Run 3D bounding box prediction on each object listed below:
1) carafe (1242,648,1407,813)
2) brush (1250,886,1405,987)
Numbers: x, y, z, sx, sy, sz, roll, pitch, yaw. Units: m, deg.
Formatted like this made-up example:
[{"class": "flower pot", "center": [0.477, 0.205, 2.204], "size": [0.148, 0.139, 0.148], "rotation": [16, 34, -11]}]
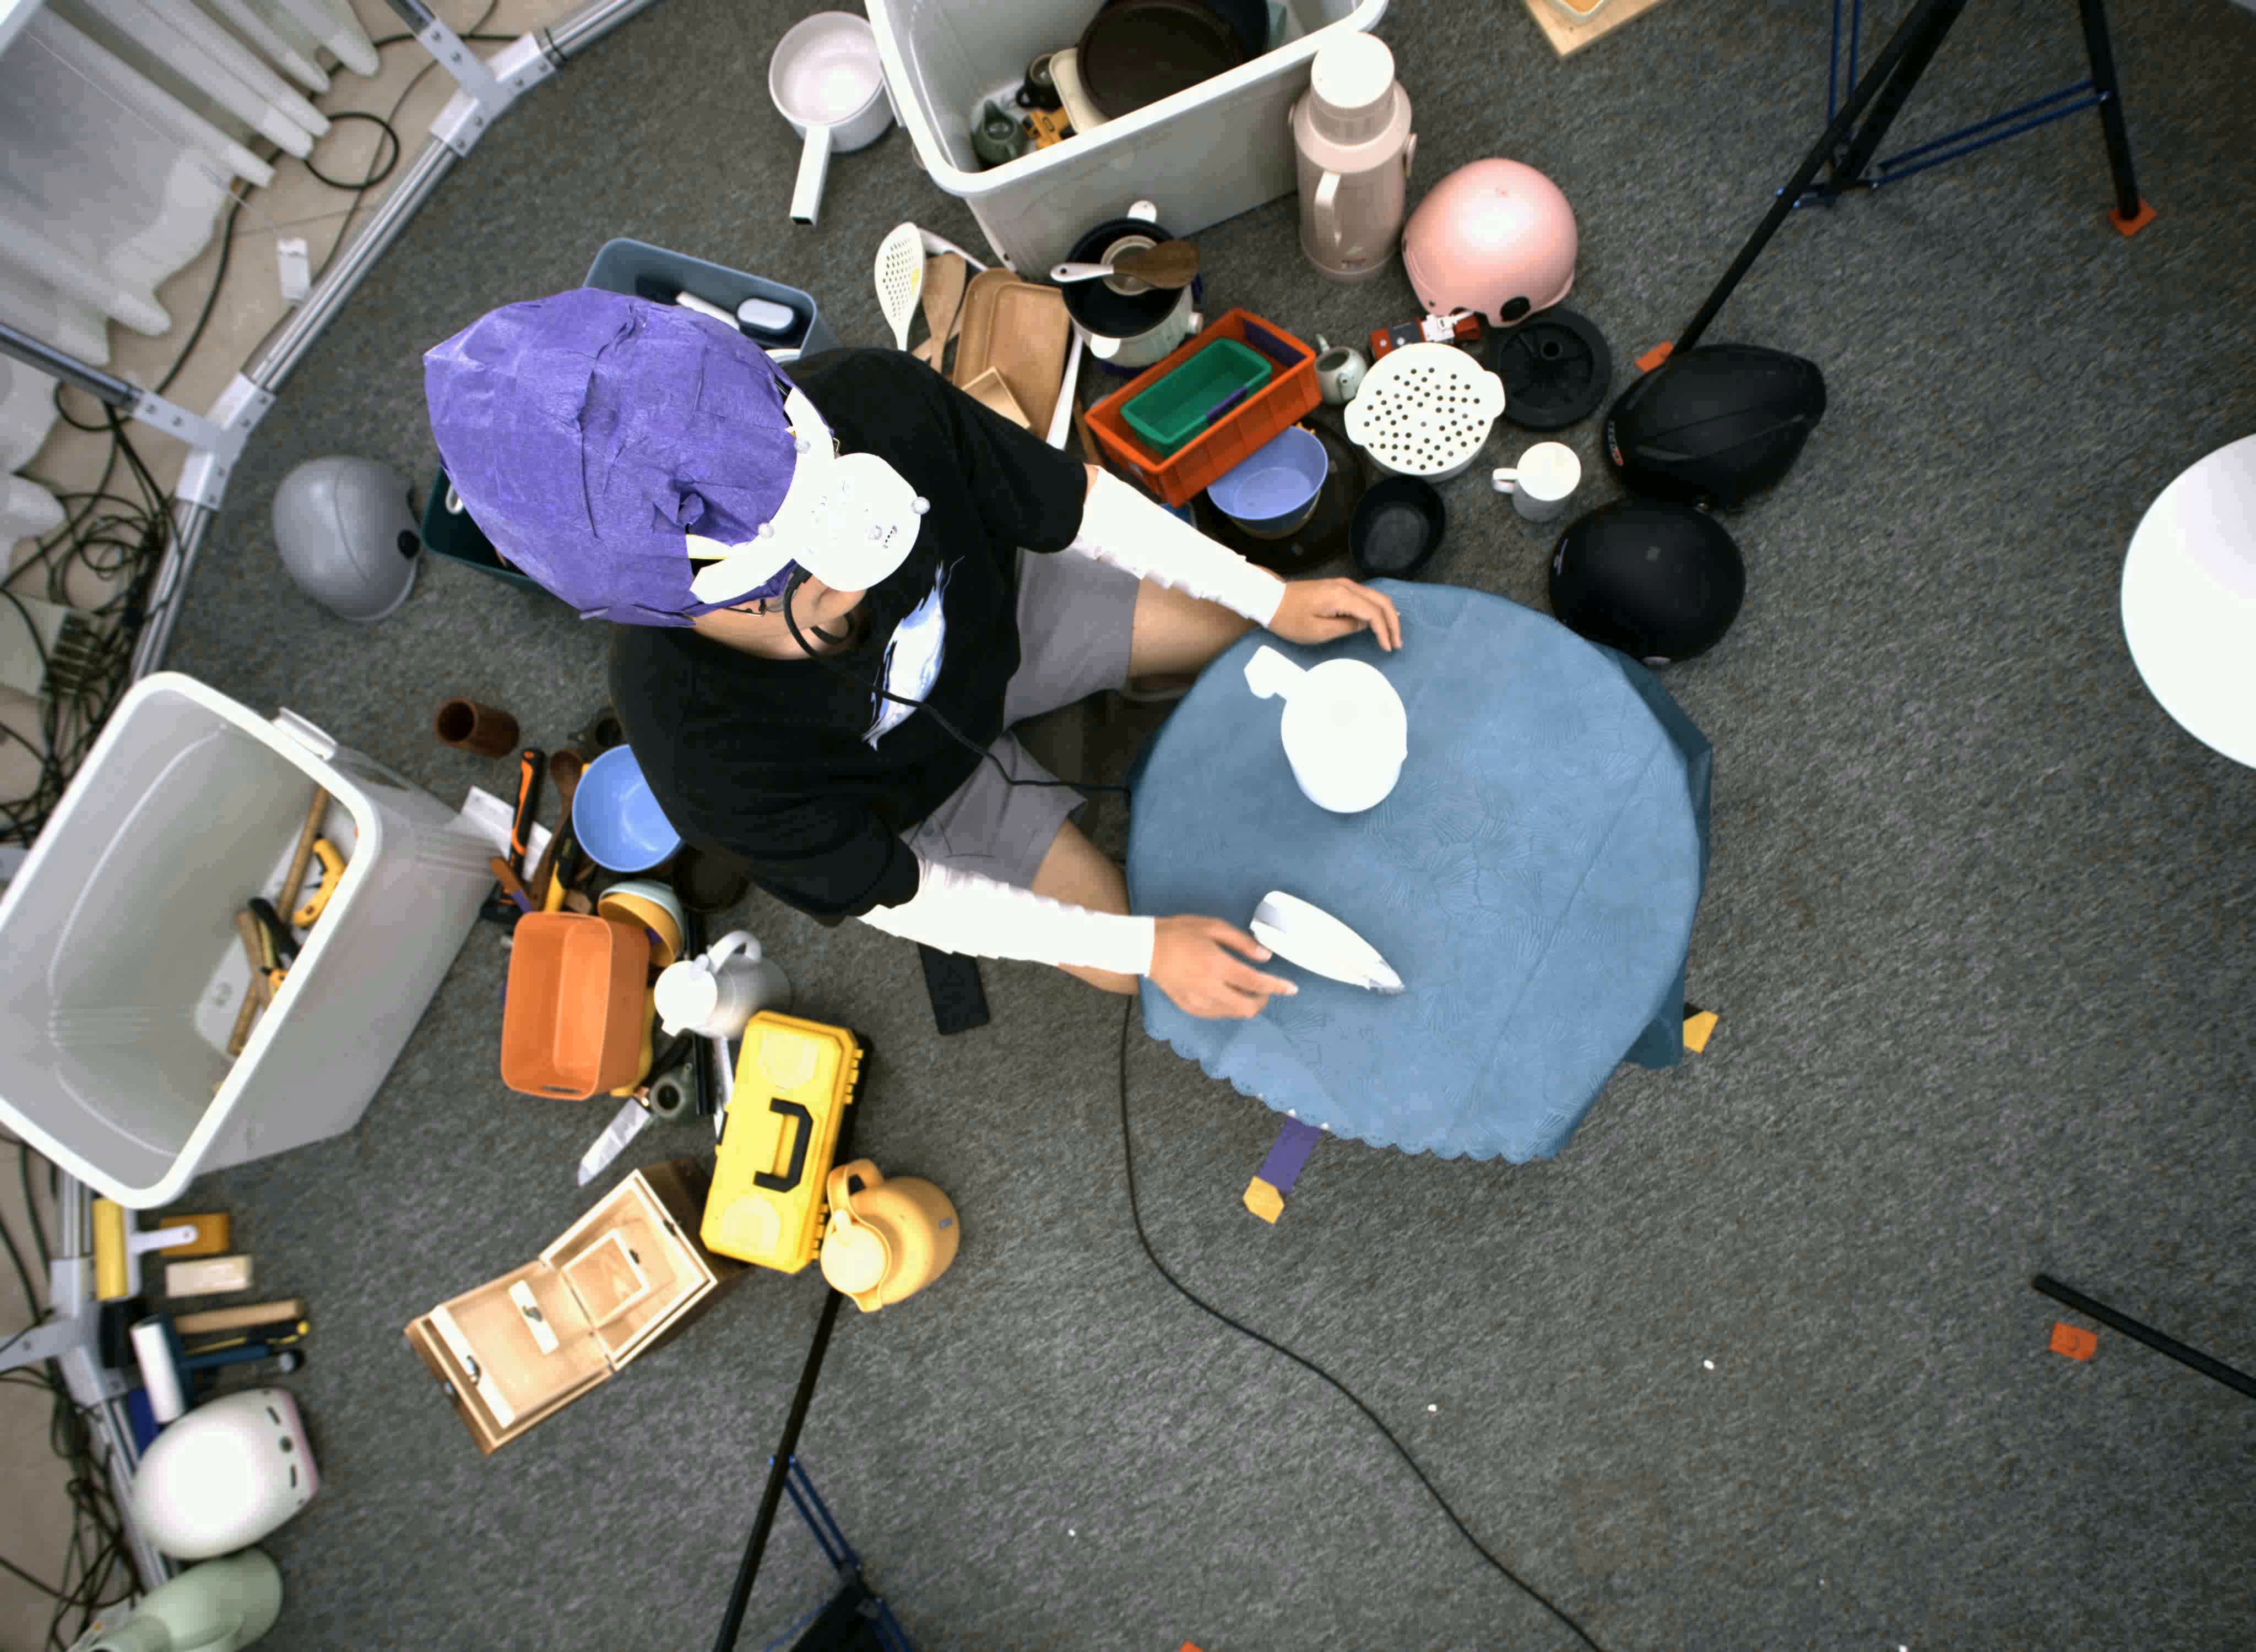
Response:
[{"class": "carafe", "center": [0.196, -0.095, 1.346], "size": [0.172, 0.269, 0.124], "rotation": [35, 93, 12]}, {"class": "brush", "center": [0.207, 0.121, 1.421], "size": [0.175, 0.094, 0.061], "rotation": [28, 93, 9]}]
